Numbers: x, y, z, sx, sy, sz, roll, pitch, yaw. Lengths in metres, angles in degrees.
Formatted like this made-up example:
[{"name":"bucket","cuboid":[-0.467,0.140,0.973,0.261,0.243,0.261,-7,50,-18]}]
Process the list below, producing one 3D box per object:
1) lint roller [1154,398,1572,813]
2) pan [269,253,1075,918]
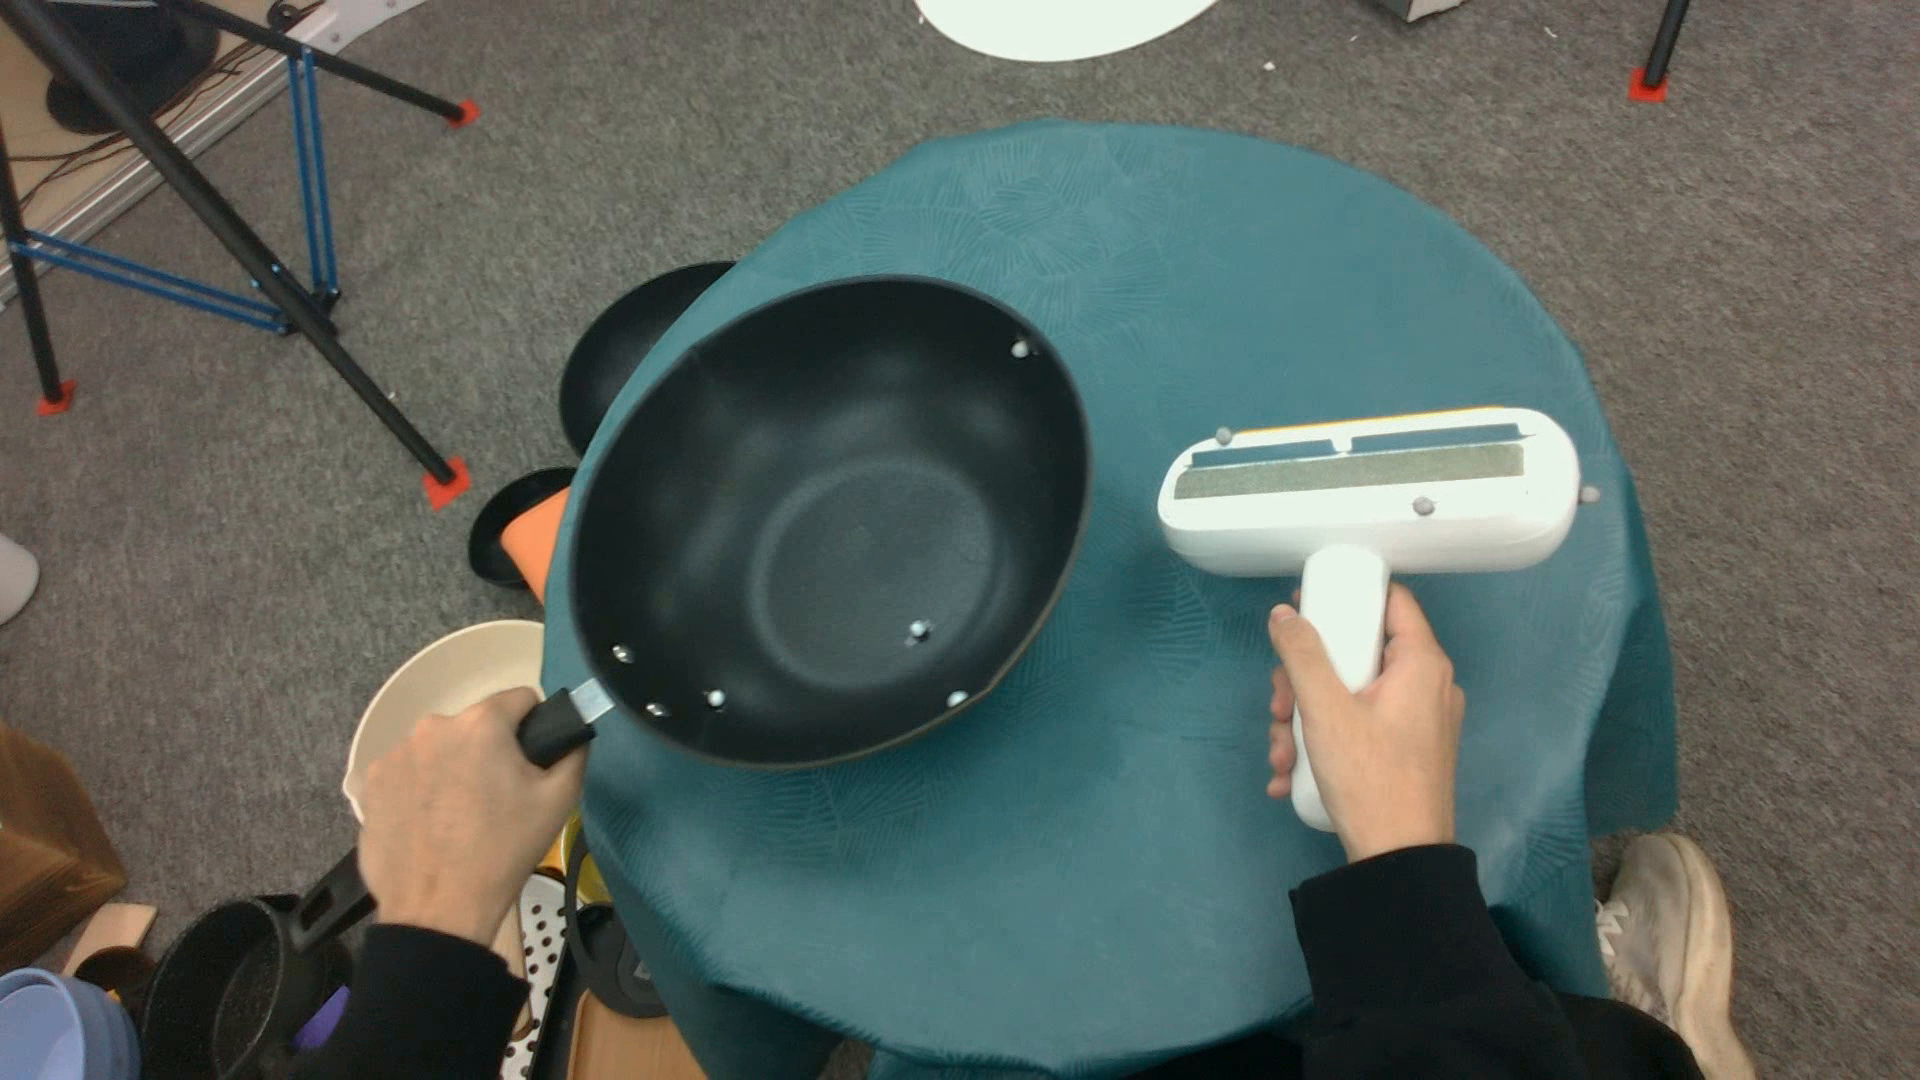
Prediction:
[{"name":"lint roller","cuboid":[0.168,0.026,0.626,0.192,0.074,0.193,4,64,35]},{"name":"pan","cuboid":[-0.138,0.046,0.707,0.464,0.086,0.288,-40,58,-5]}]
